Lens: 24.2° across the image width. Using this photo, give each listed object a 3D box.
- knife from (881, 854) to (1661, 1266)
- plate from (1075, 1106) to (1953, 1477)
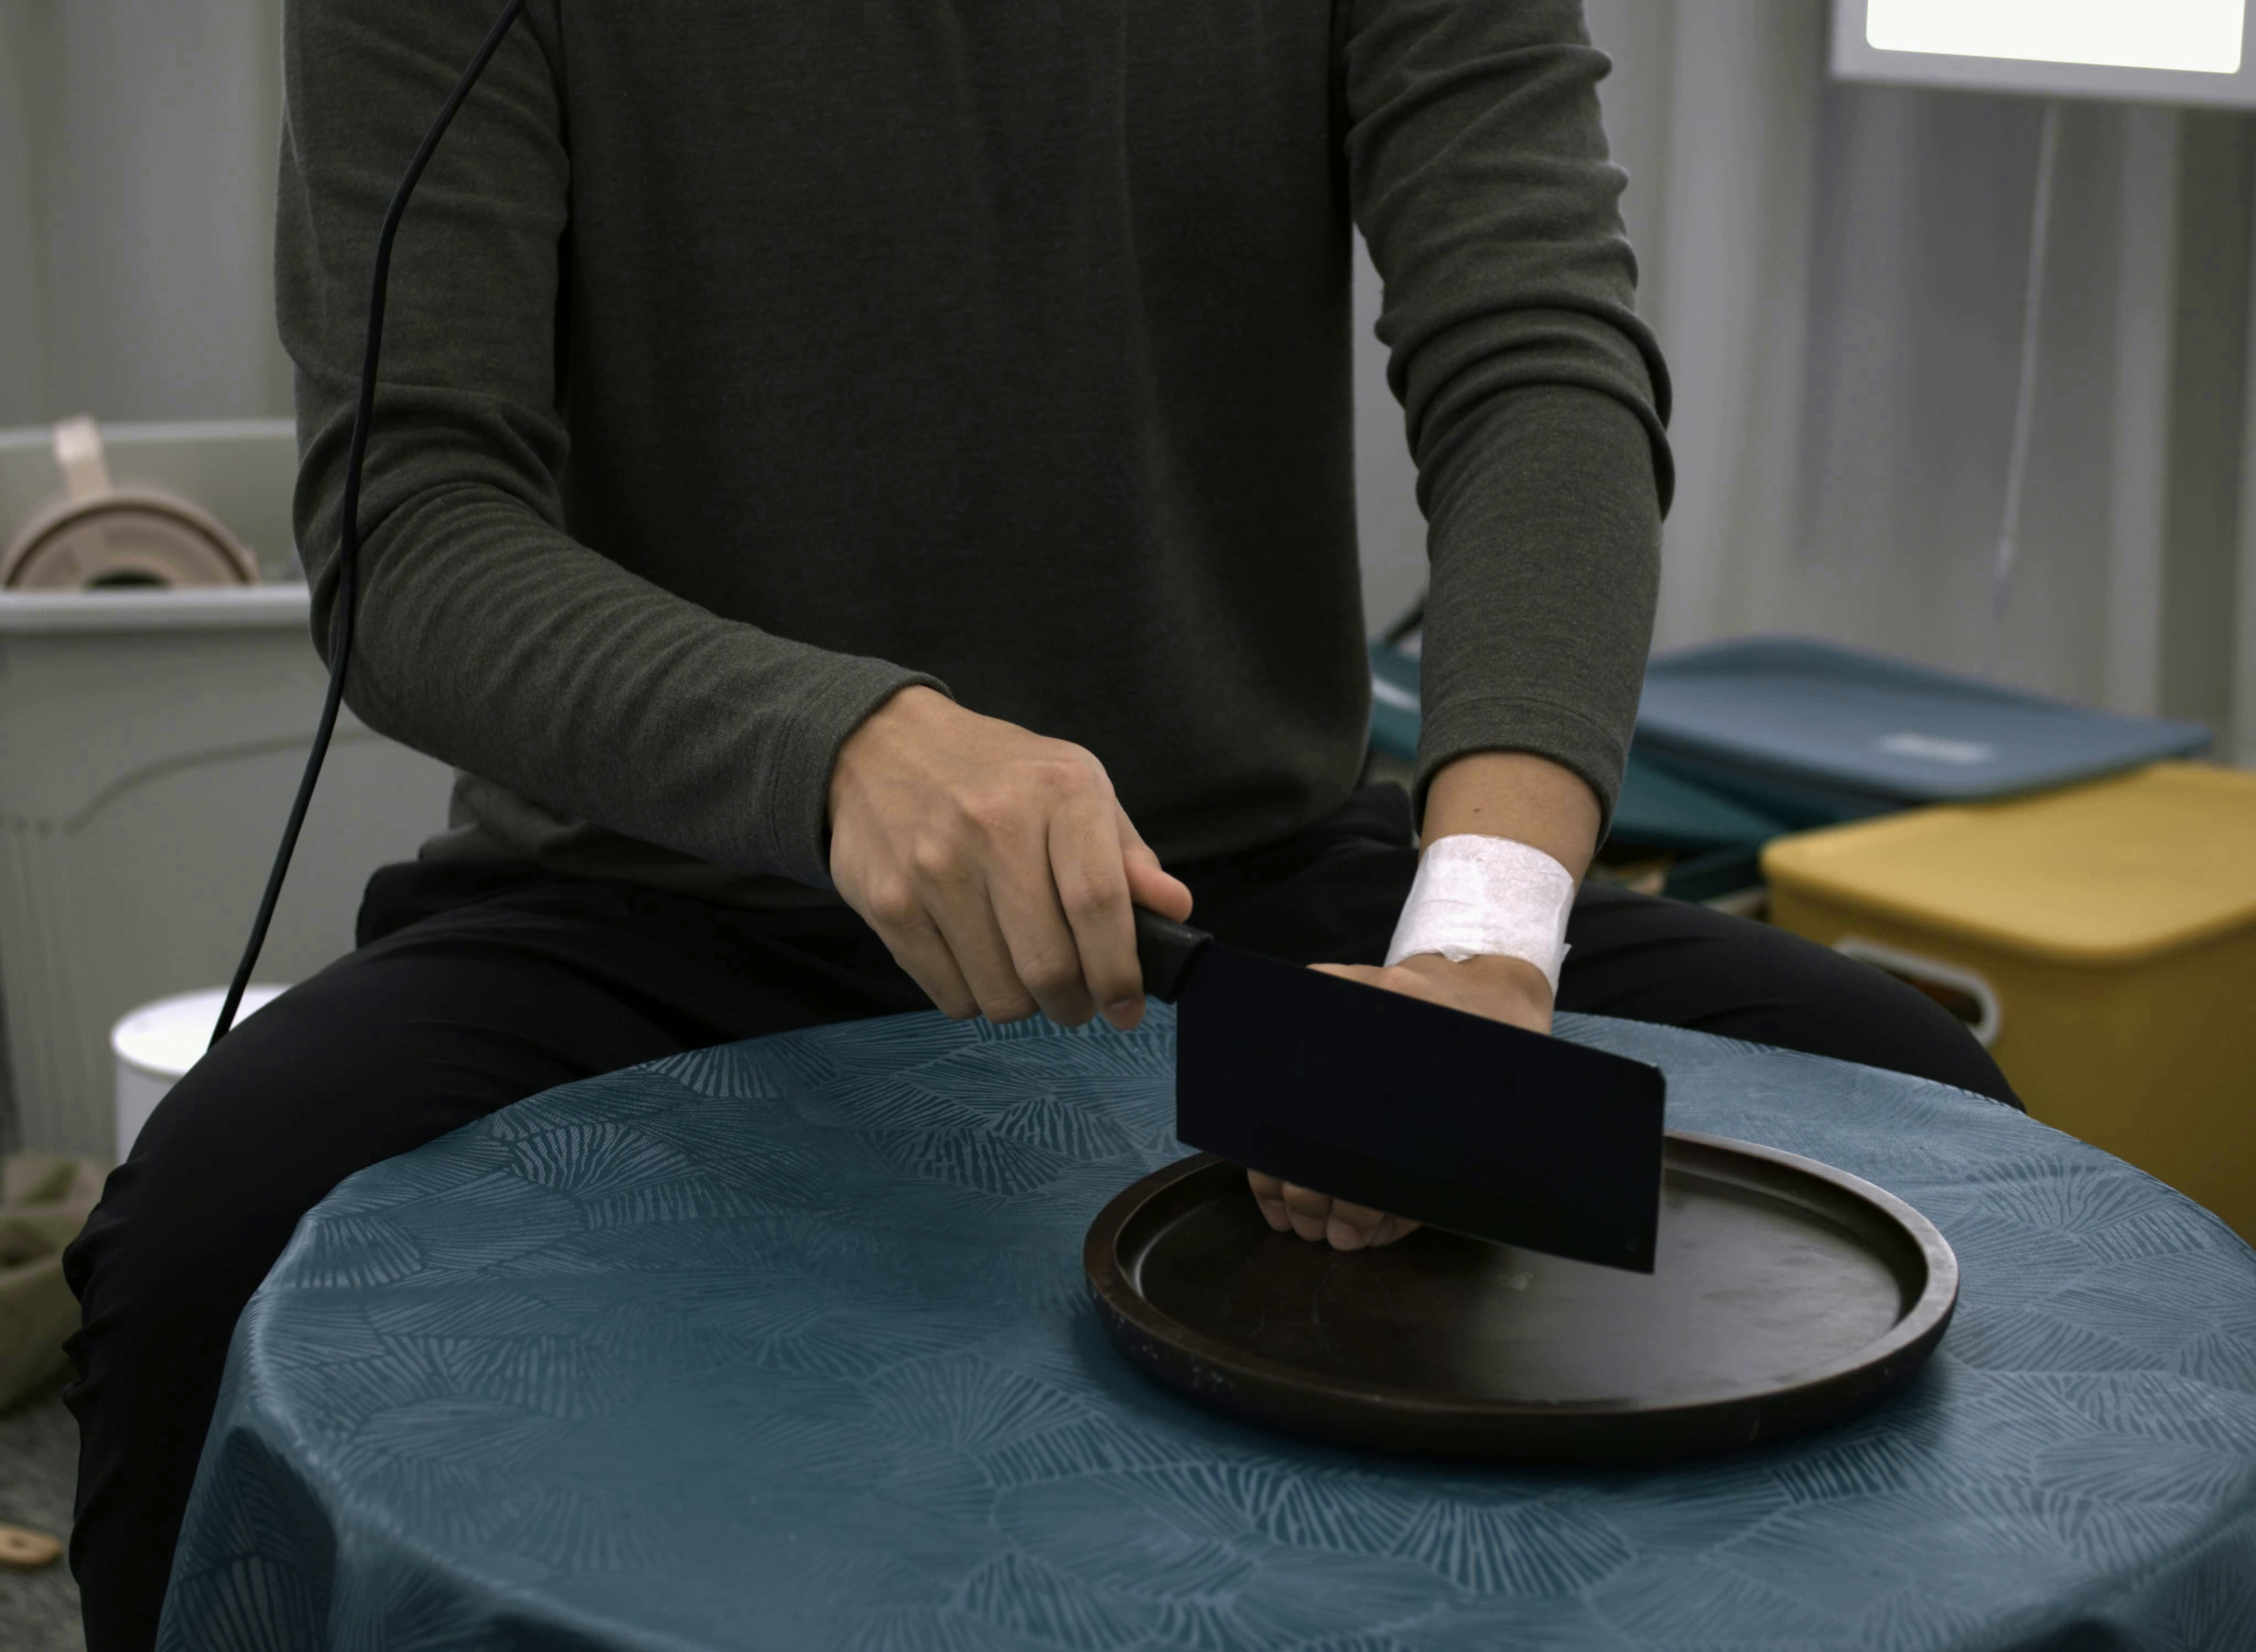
[{"bbox_3d":[0.037,0.062,1.530,0.298,0.081,0.021,20,24,39],"label":"knife"},{"bbox_3d":[0.110,0.132,1.517,0.254,0.029,0.253,0,16,1],"label":"plate"}]
